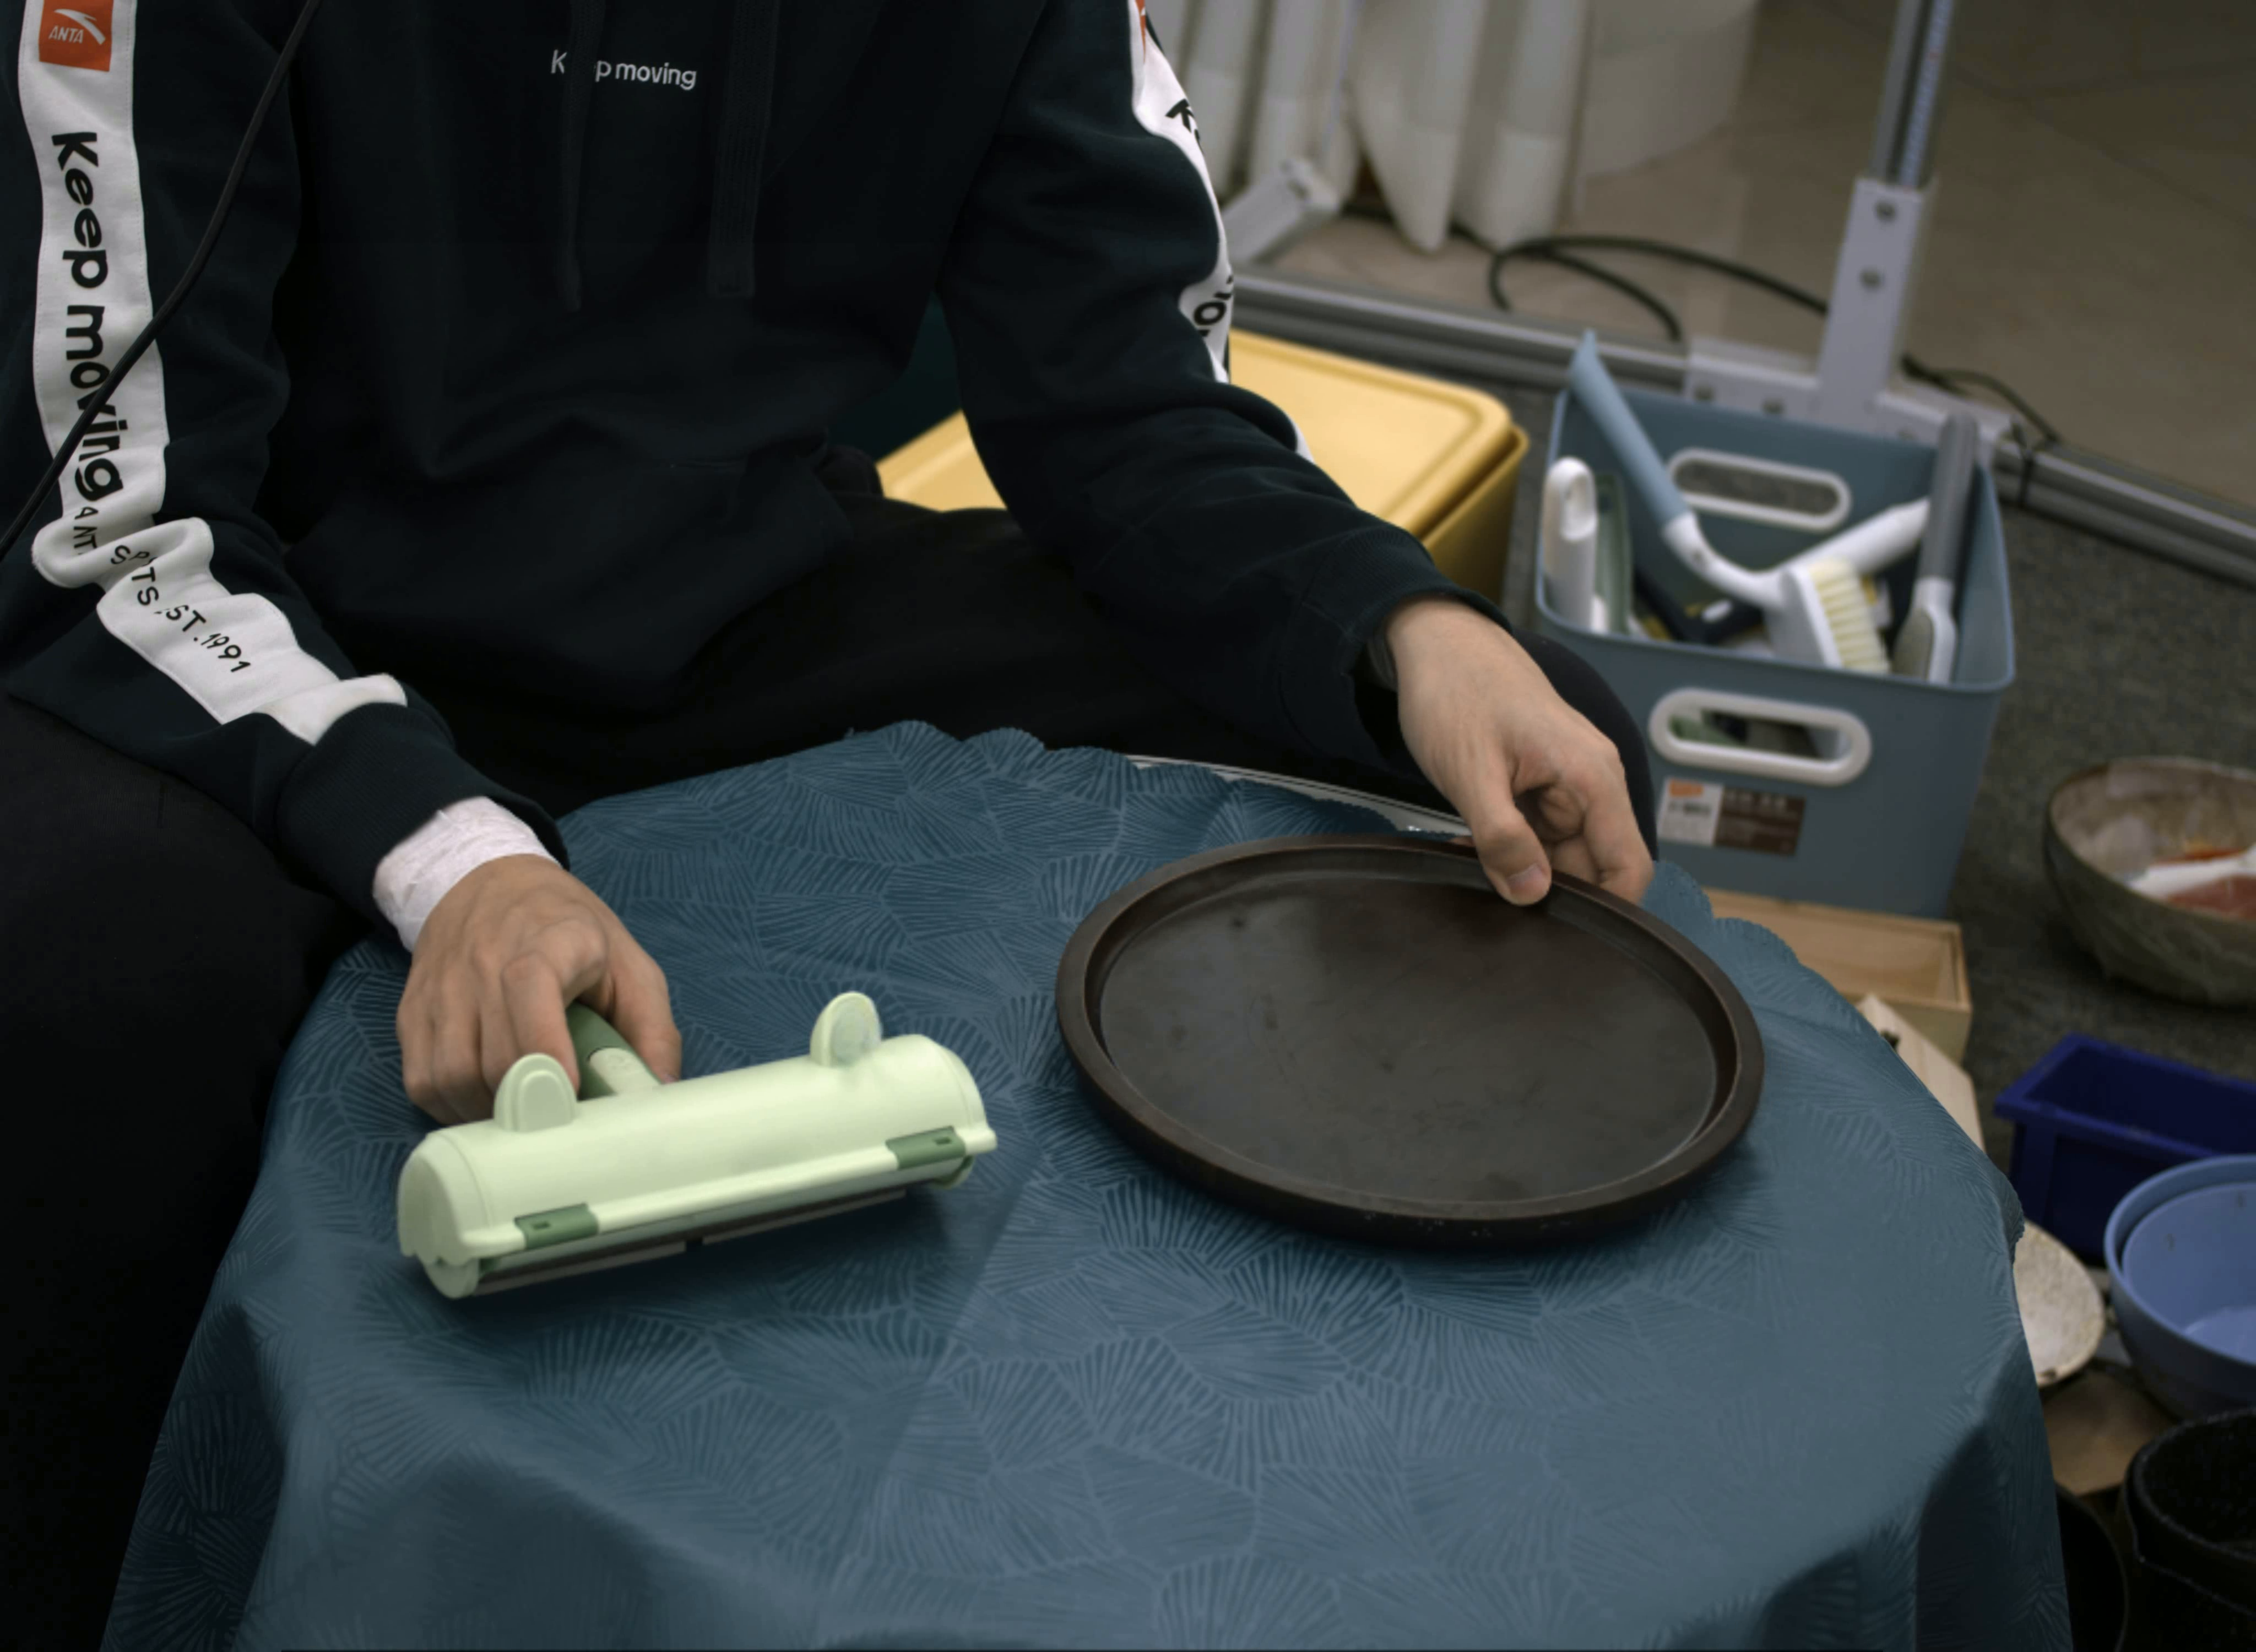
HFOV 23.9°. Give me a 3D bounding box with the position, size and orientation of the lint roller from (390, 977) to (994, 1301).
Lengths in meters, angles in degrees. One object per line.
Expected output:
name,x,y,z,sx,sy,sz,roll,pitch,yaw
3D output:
lint roller,-0.169,0.077,1.764,0.197,0.082,0.185,-10,35,-30

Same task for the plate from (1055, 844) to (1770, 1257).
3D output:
plate,0.099,0.077,1.876,0.254,0.029,0.256,4,31,-3
